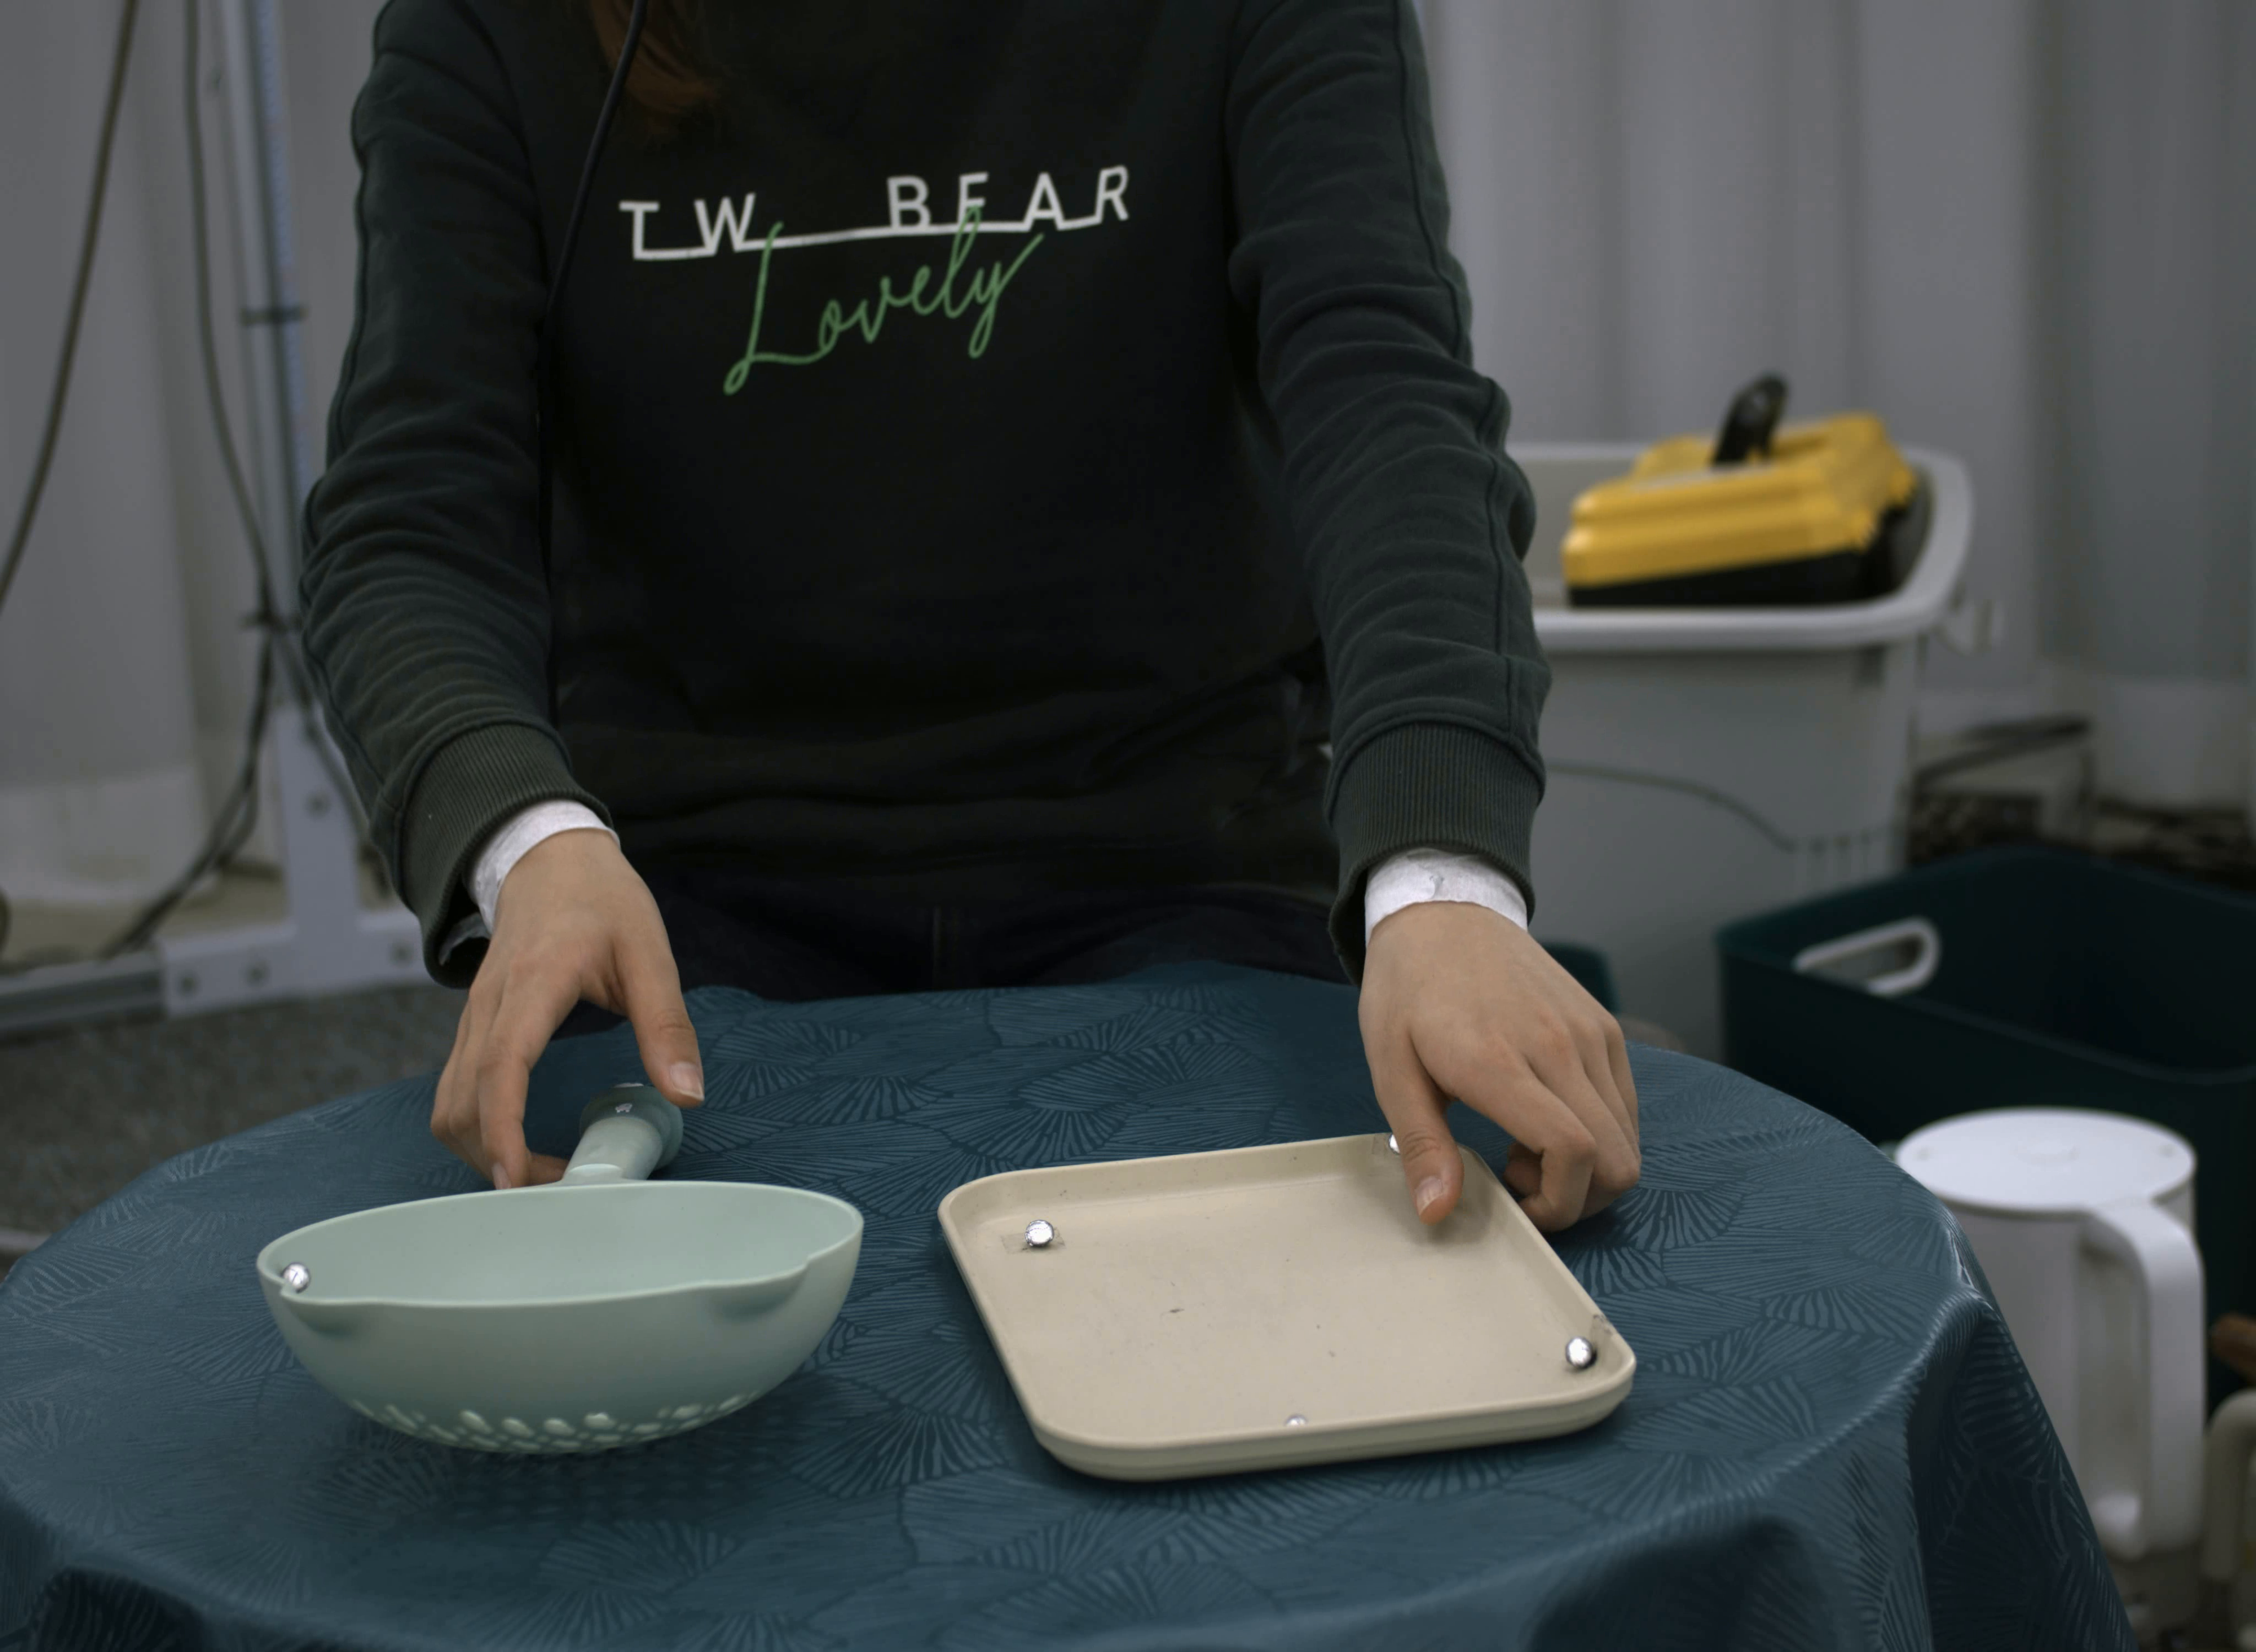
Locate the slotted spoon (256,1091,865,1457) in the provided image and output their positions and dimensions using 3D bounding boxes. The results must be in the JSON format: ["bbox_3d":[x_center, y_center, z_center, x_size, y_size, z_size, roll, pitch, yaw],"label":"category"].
[{"bbox_3d":[-0.157,0.116,1.617,0.169,0.075,0.361,-2,14,0],"label":"slotted spoon"}]

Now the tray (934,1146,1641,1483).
[{"bbox_3d":[0.042,0.140,1.582,0.170,0.017,0.241,-5,14,-9],"label":"tray"}]
